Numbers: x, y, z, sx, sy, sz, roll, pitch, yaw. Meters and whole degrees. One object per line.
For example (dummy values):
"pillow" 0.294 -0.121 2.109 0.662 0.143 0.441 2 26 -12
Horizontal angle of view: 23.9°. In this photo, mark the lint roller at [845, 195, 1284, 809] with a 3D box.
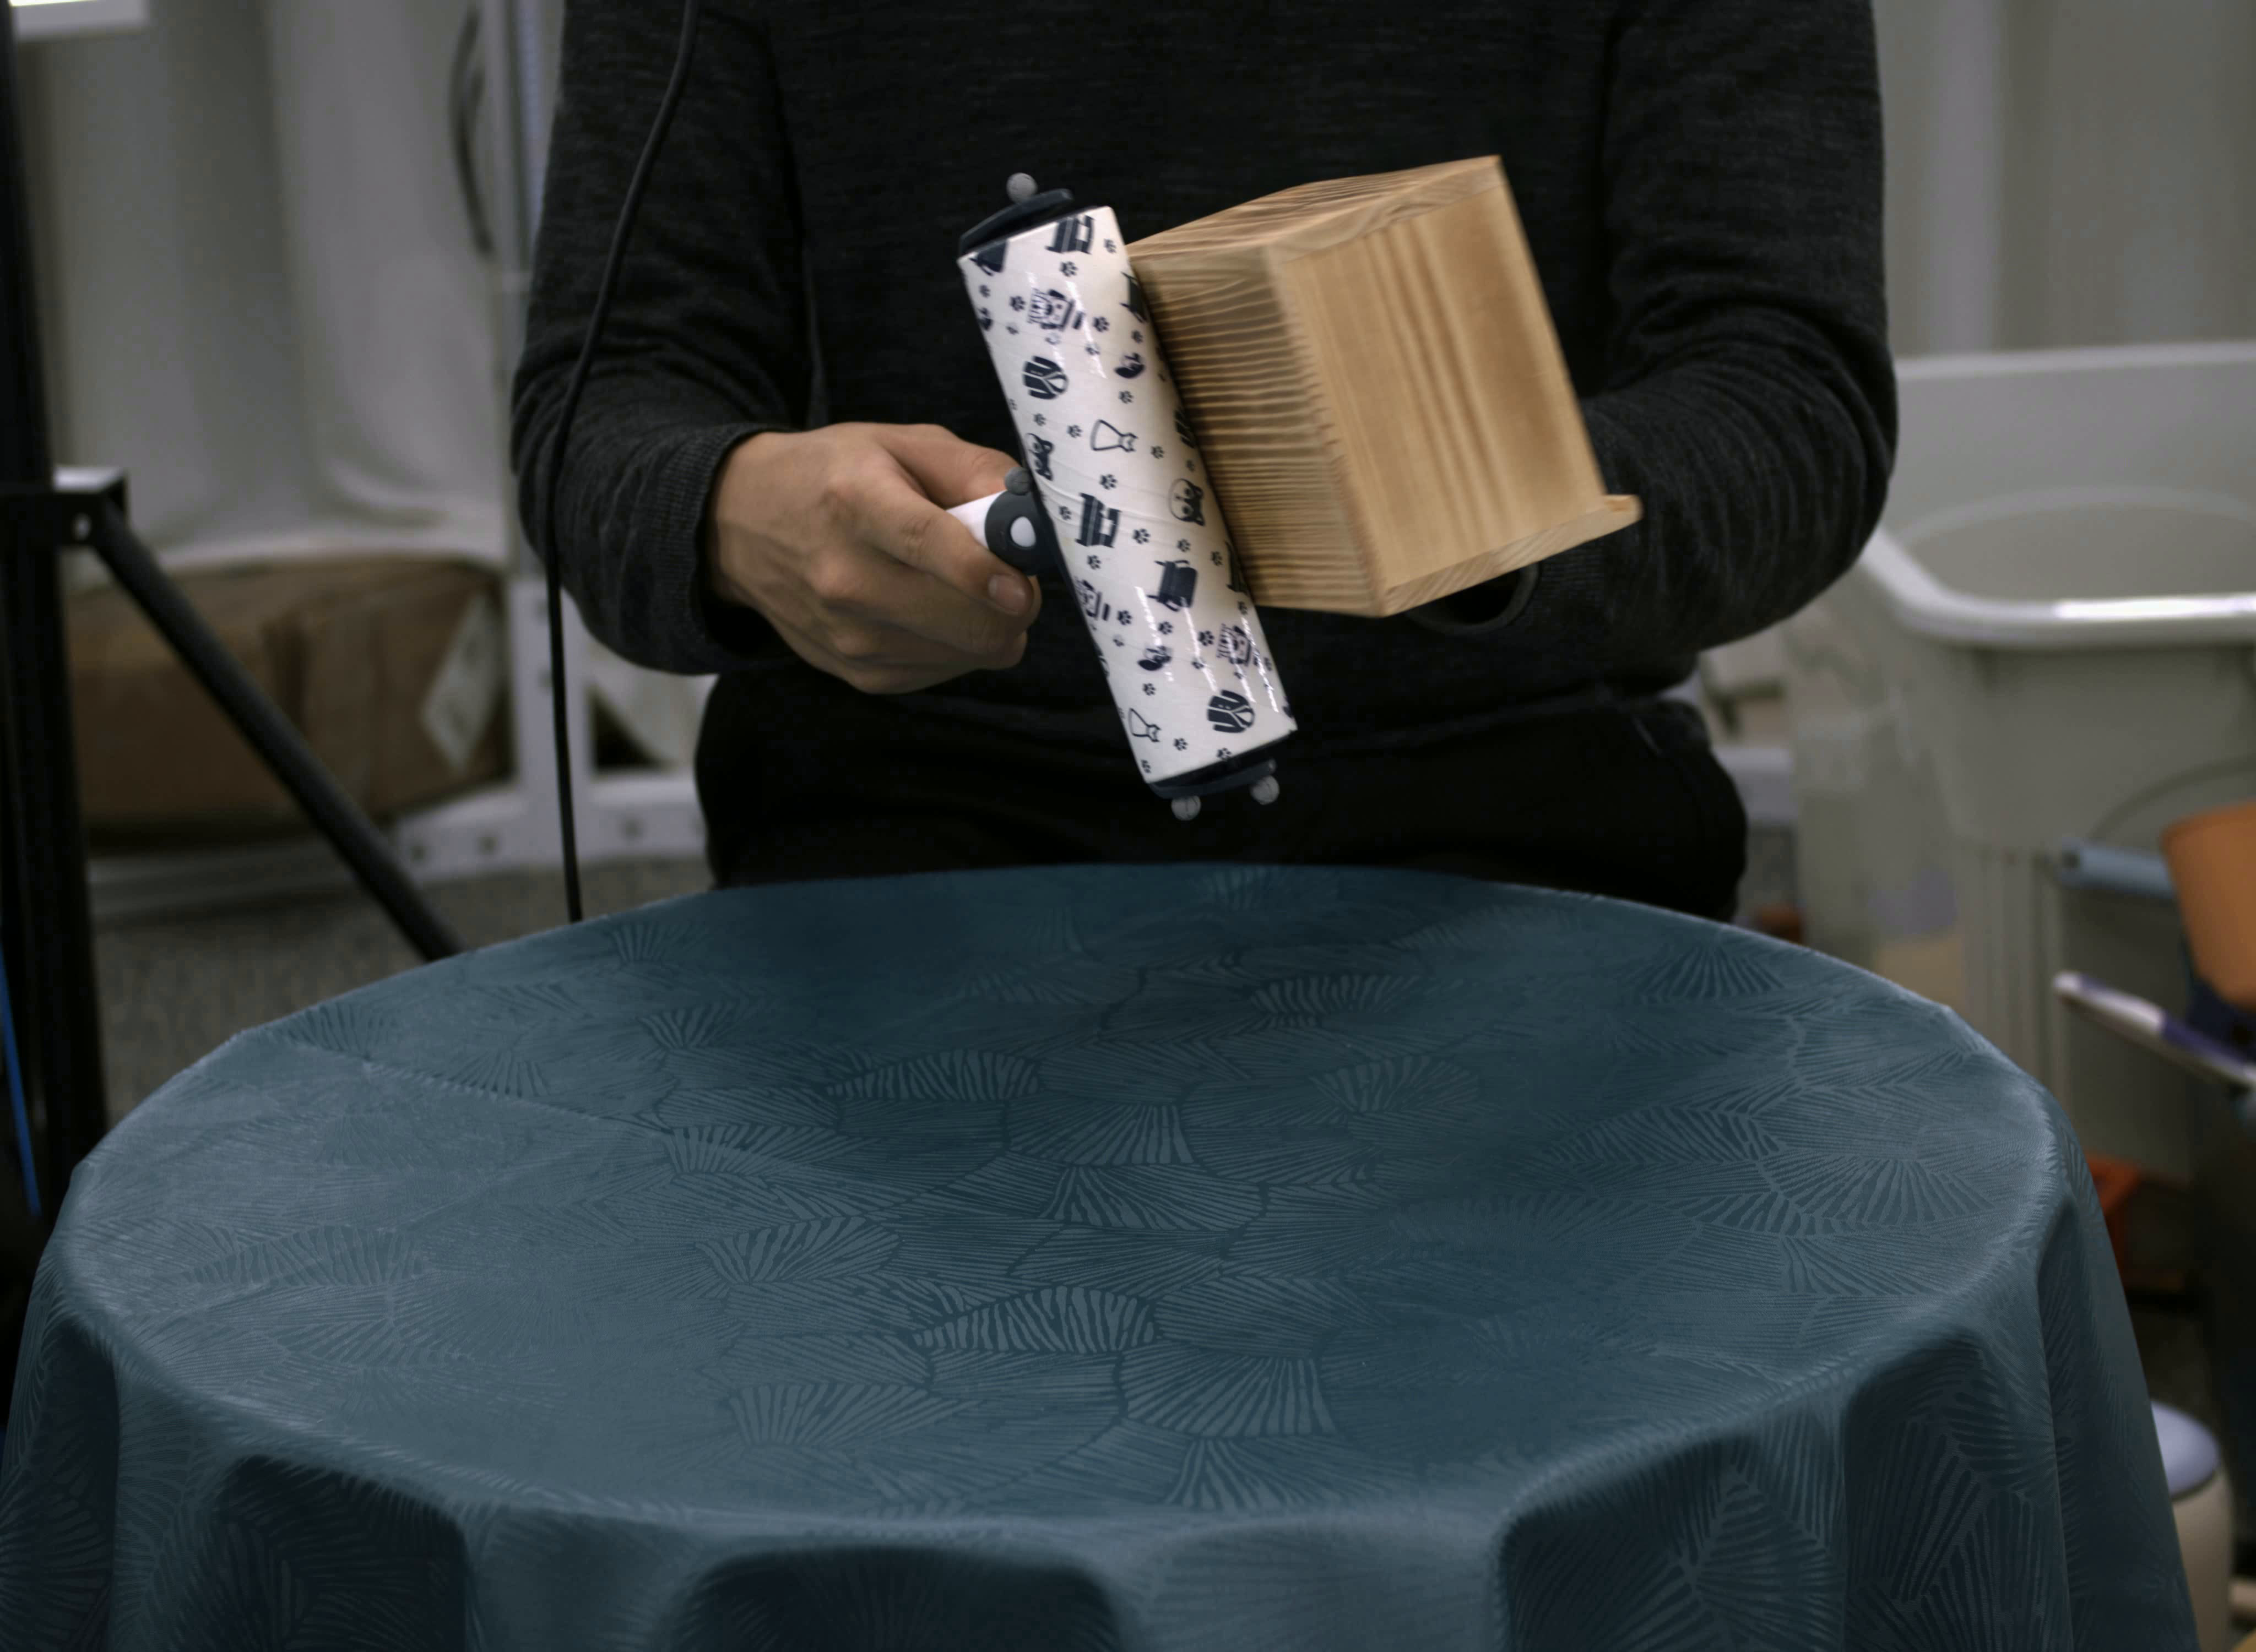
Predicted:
"lint roller" -0.041 -0.083 1.616 0.049 0.177 0.250 -19 2 -24

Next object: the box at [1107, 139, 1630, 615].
"box" 0.058 -0.125 1.512 0.079 0.107 0.214 -21 9 -12
